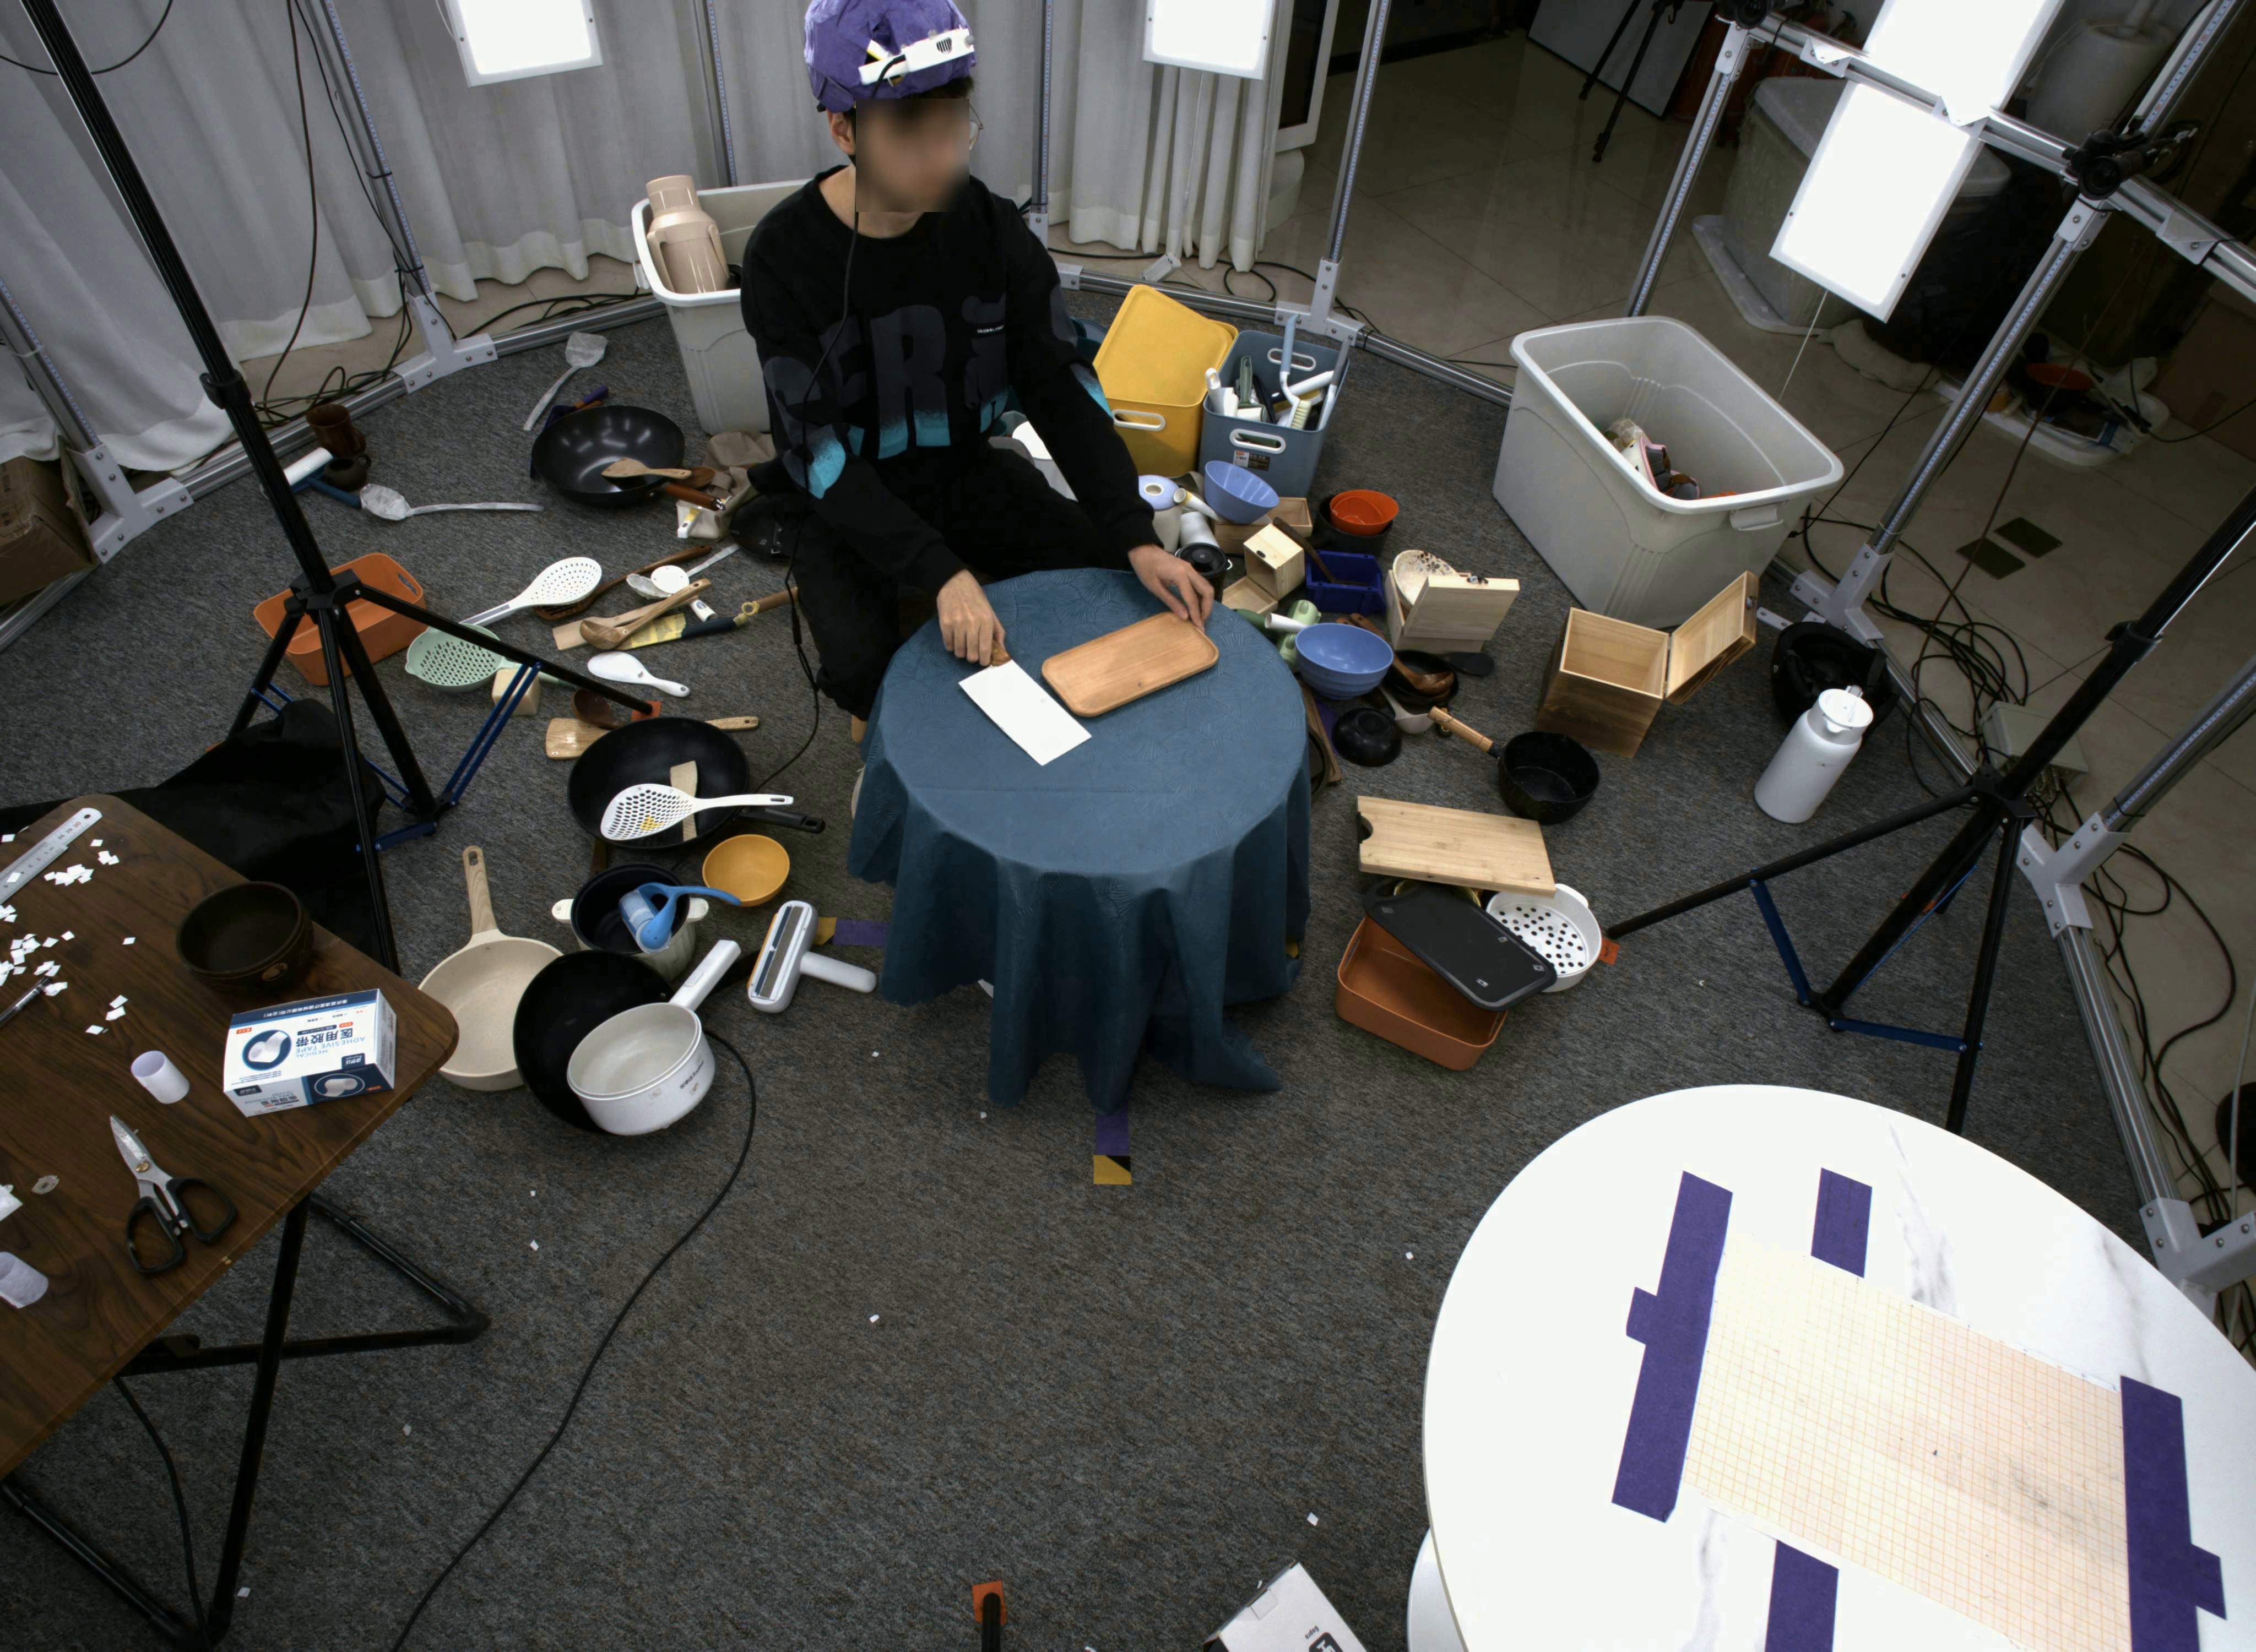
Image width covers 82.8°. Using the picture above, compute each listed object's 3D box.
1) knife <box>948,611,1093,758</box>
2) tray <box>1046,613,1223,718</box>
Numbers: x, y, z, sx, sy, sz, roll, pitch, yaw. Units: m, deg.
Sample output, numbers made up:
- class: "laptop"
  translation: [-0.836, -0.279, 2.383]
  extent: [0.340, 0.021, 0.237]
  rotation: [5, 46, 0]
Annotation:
- class: "knife"
  translation: [-0.175, -0.200, 1.820]
  extent: [0.093, 0.020, 0.311]
  rotation: [-31, 60, -26]
- class: "tray"
  translation: [0.010, -0.234, 1.863]
  extent: [0.251, 0.022, 0.133]
  rotation: [-23, 56, -23]
